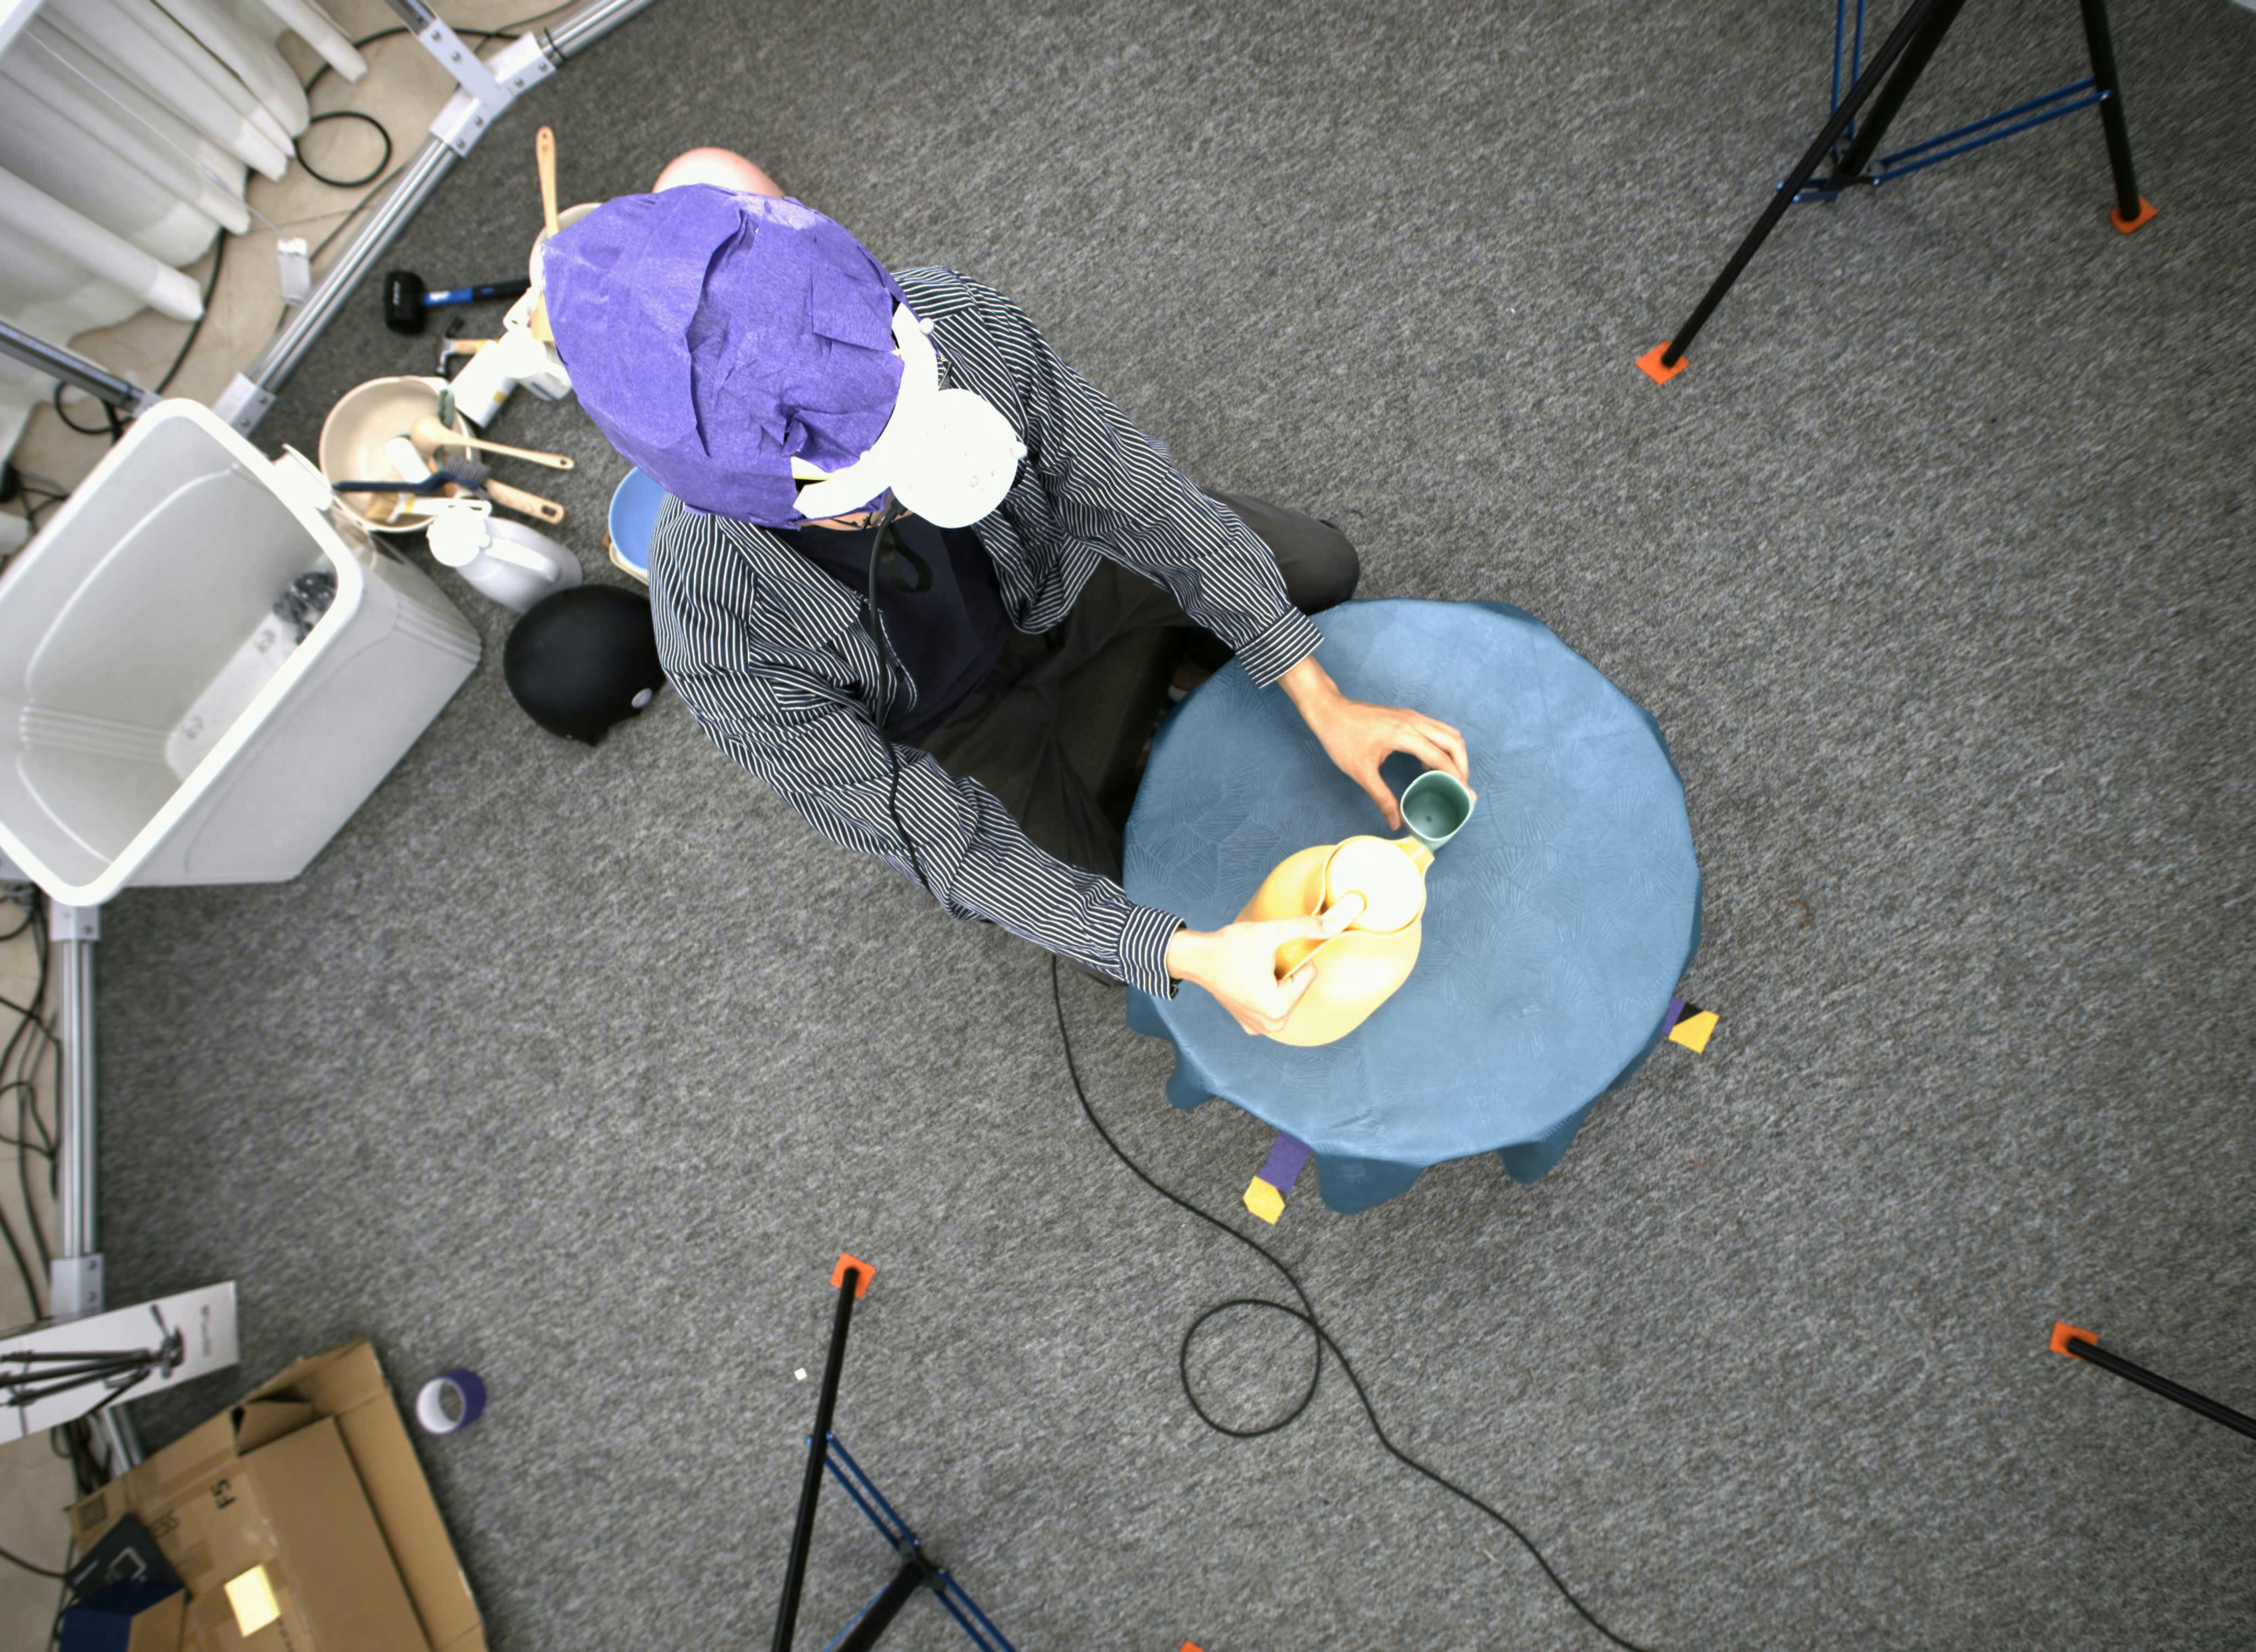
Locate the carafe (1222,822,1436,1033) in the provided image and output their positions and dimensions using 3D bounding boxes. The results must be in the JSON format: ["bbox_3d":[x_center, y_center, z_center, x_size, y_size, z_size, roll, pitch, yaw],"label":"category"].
[{"bbox_3d":[0.180,0.099,1.301,0.199,0.266,0.162,-38,78,-24],"label":"carafe"}]

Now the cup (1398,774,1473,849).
[{"bbox_3d":[0.302,-0.015,1.365,0.067,0.132,0.066,0,87,9],"label":"cup"}]
